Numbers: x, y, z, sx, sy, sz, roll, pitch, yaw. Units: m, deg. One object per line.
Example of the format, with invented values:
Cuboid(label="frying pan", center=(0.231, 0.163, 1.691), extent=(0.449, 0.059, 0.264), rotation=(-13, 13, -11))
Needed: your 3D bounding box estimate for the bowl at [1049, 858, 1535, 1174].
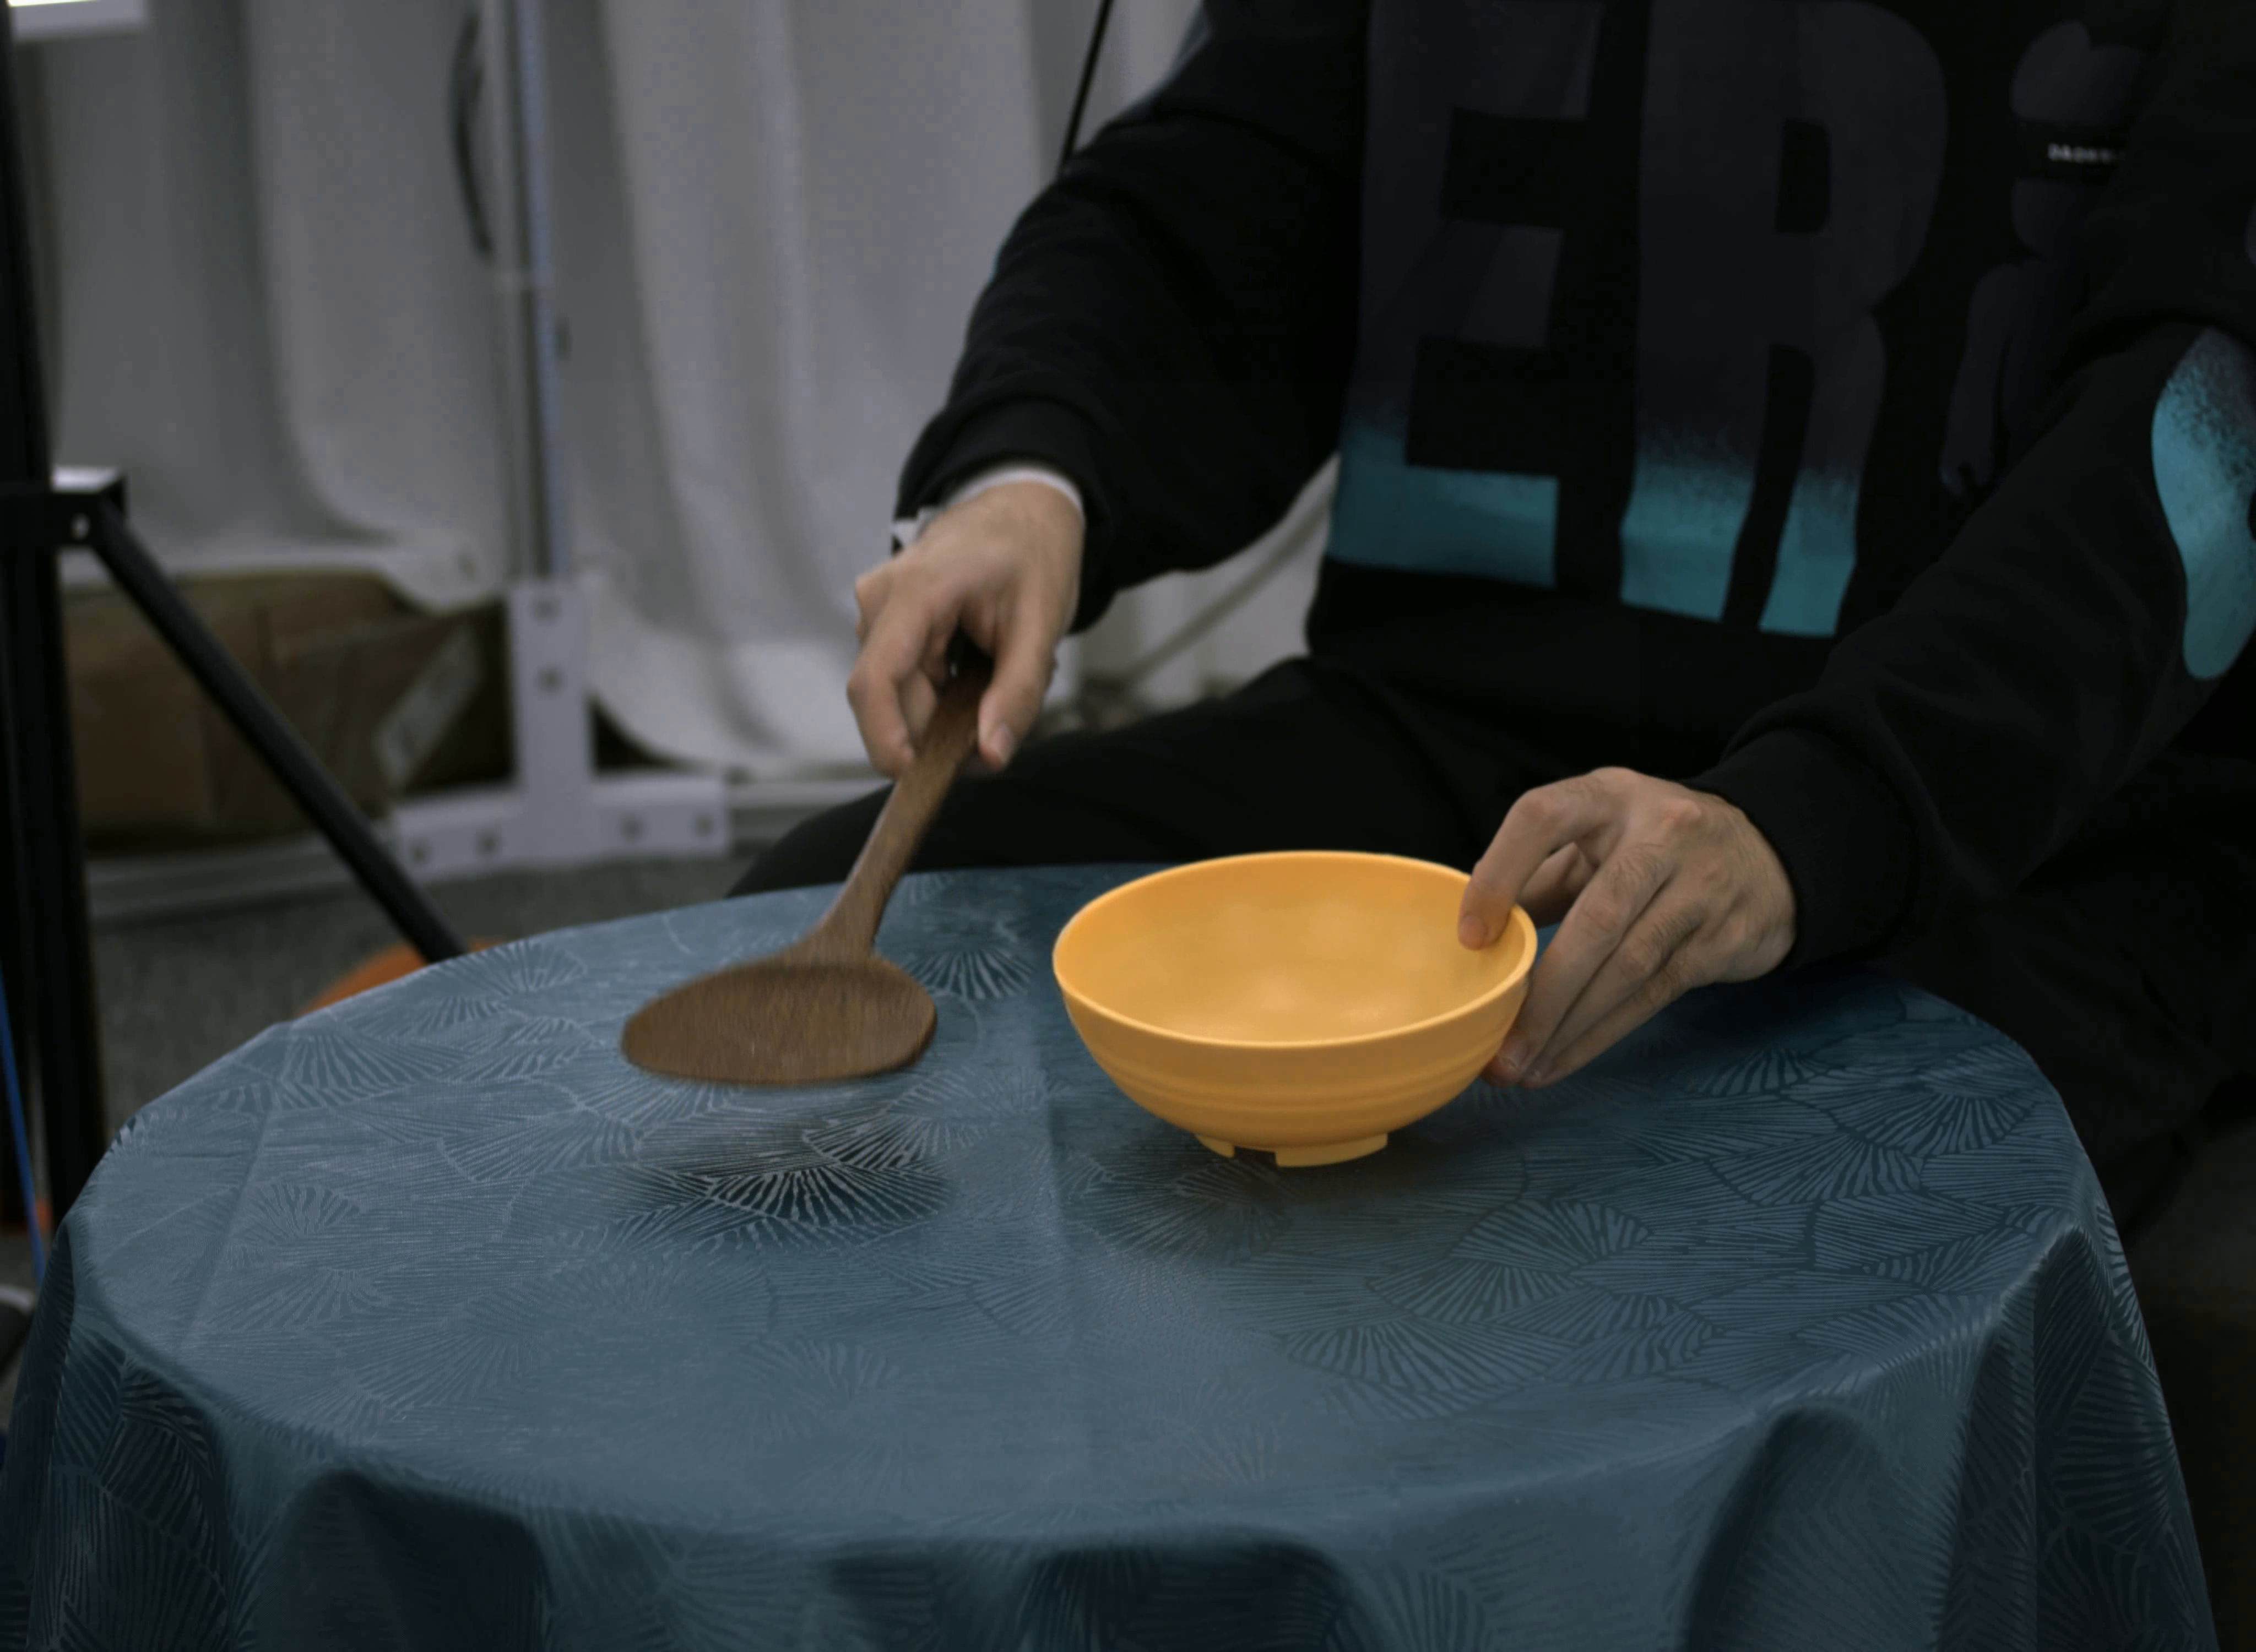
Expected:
Cuboid(label="bowl", center=(0.049, 0.064, 1.584), extent=(0.144, 0.060, 0.146), rotation=(-1, 21, -1))

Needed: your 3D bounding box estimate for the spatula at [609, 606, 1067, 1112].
Cuboid(label="spatula", center=(-0.072, 0.003, 1.717), extent=(0.097, 0.016, 0.385), rotation=(0, 25, 13))
